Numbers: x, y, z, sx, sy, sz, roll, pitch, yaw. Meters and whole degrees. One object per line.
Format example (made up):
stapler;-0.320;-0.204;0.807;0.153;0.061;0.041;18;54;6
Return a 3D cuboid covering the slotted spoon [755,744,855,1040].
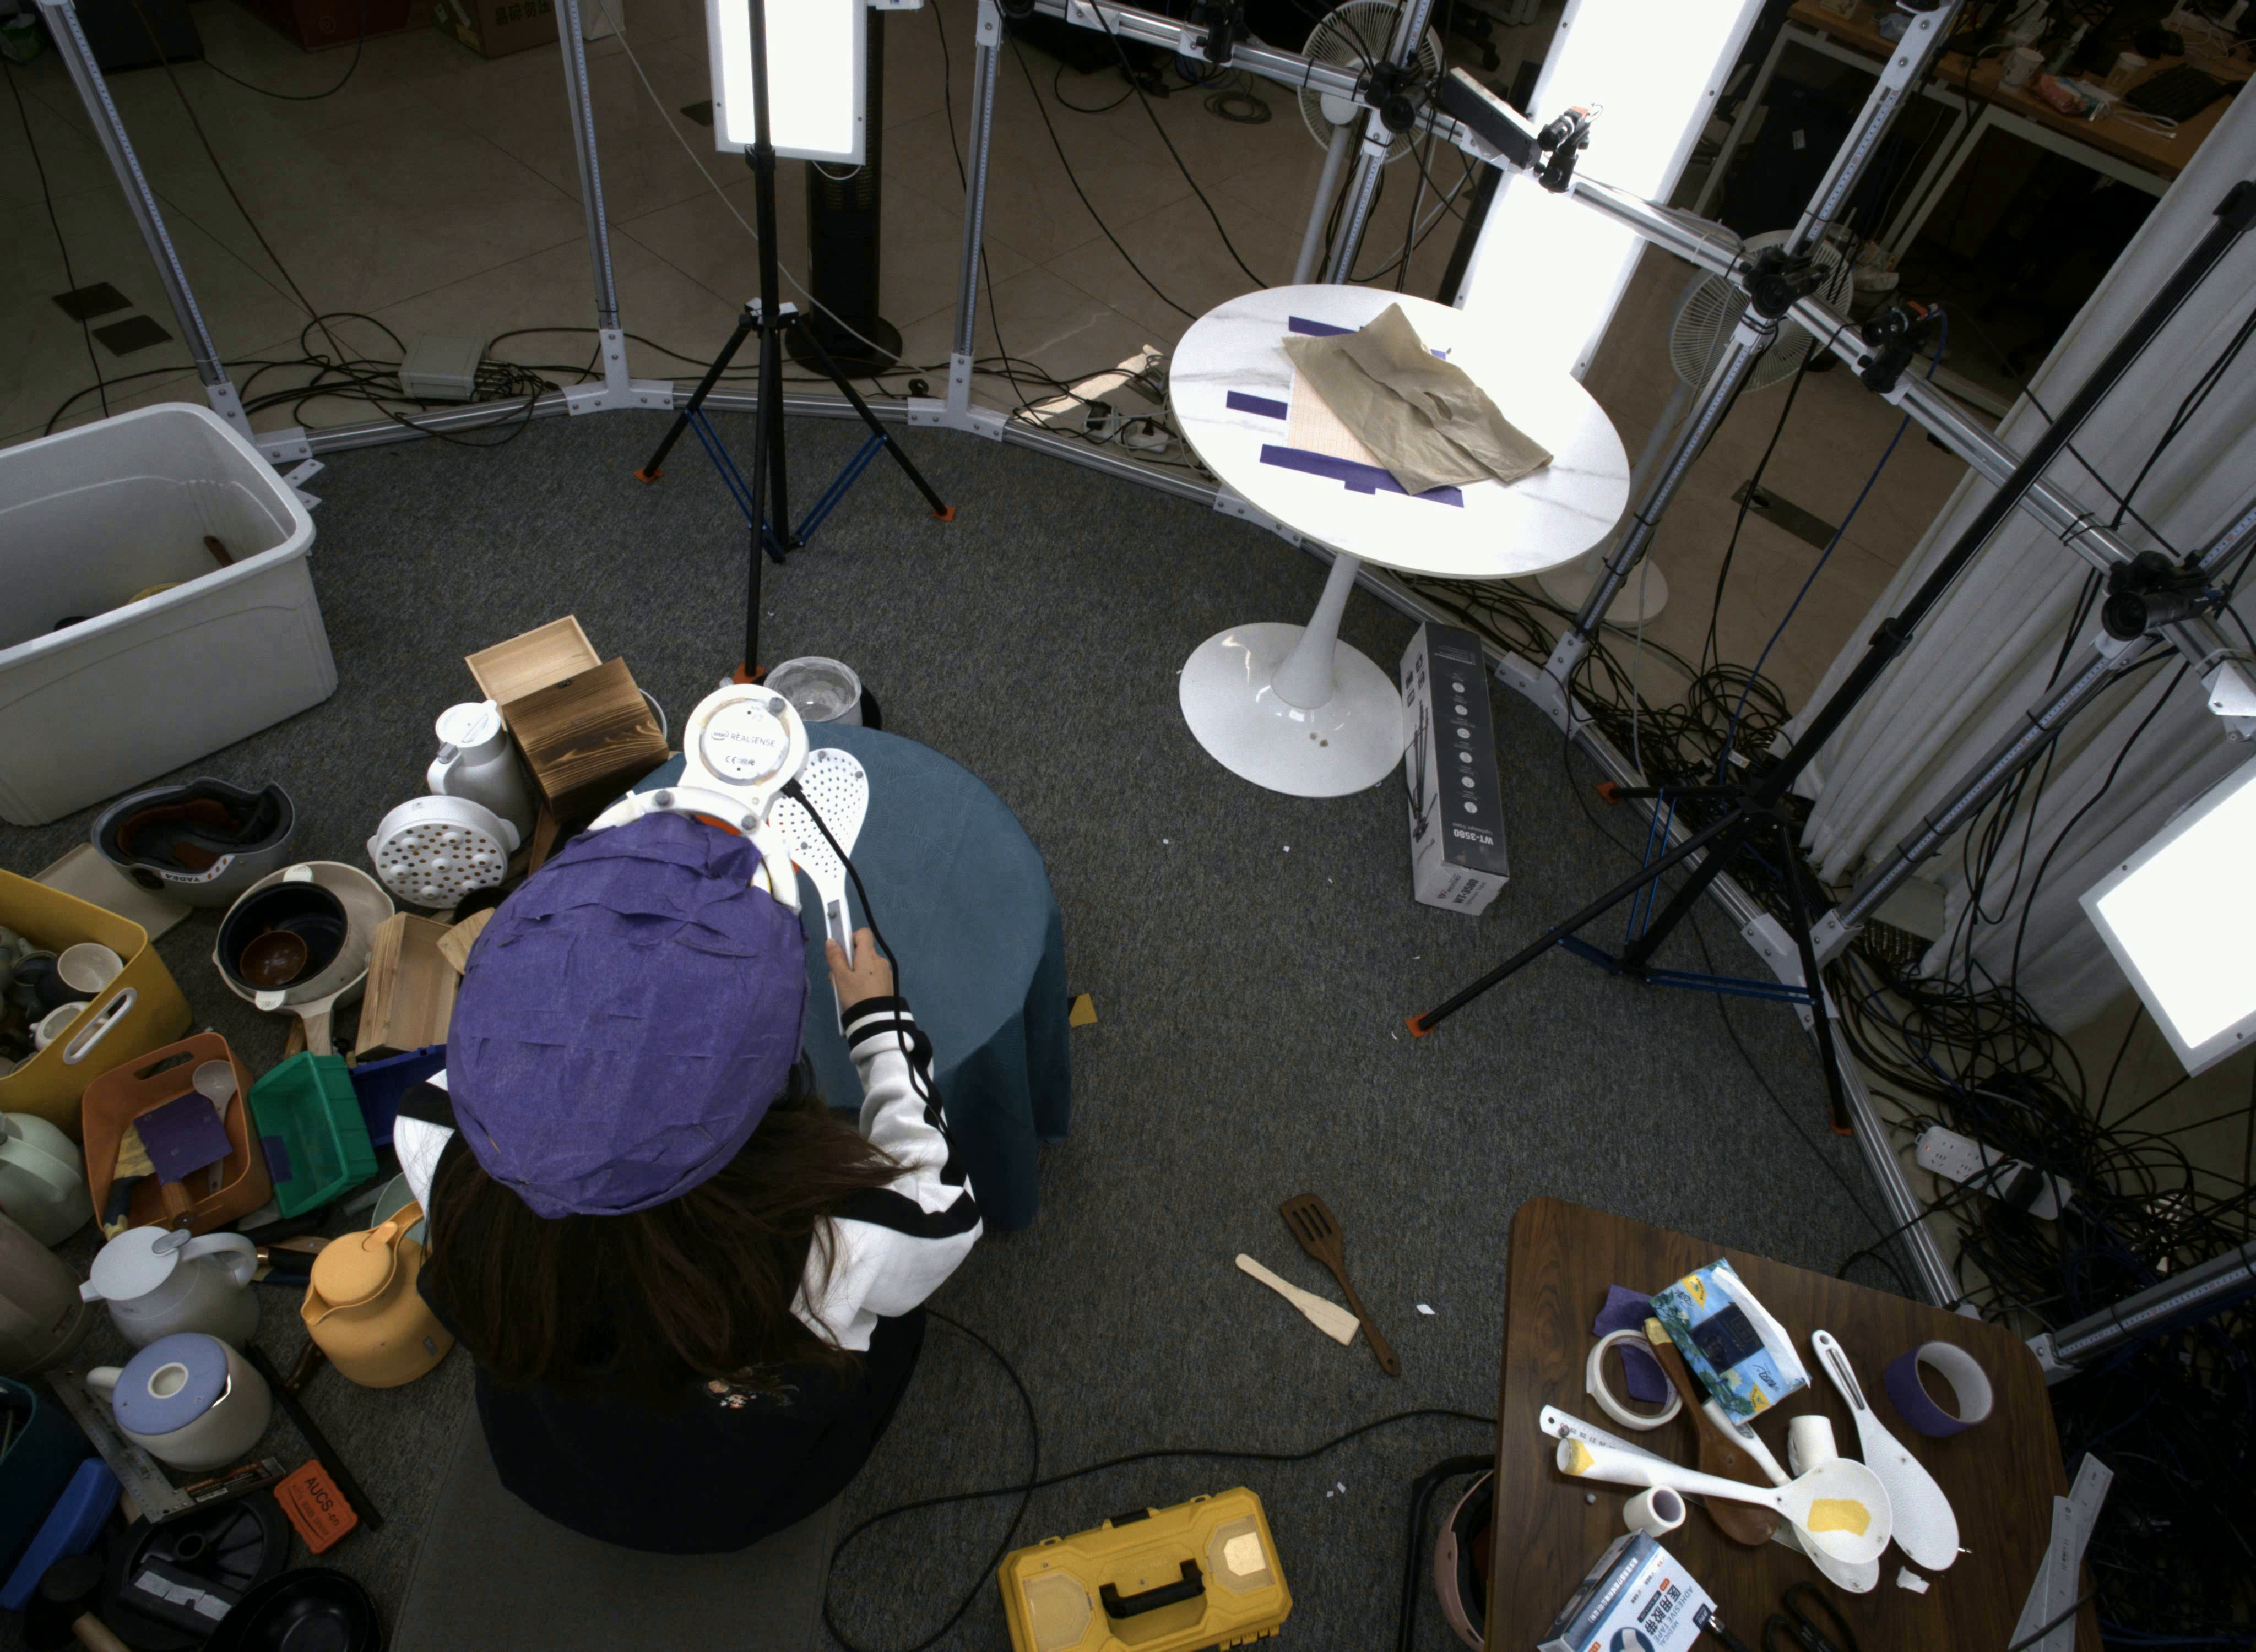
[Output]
slotted spoon;-0.347;0.070;1.465;0.134;0.047;0.344;-20;64;14

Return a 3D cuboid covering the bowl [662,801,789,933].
bowl;-0.488;0.059;1.560;0.149;0.106;0.145;13;49;-13
